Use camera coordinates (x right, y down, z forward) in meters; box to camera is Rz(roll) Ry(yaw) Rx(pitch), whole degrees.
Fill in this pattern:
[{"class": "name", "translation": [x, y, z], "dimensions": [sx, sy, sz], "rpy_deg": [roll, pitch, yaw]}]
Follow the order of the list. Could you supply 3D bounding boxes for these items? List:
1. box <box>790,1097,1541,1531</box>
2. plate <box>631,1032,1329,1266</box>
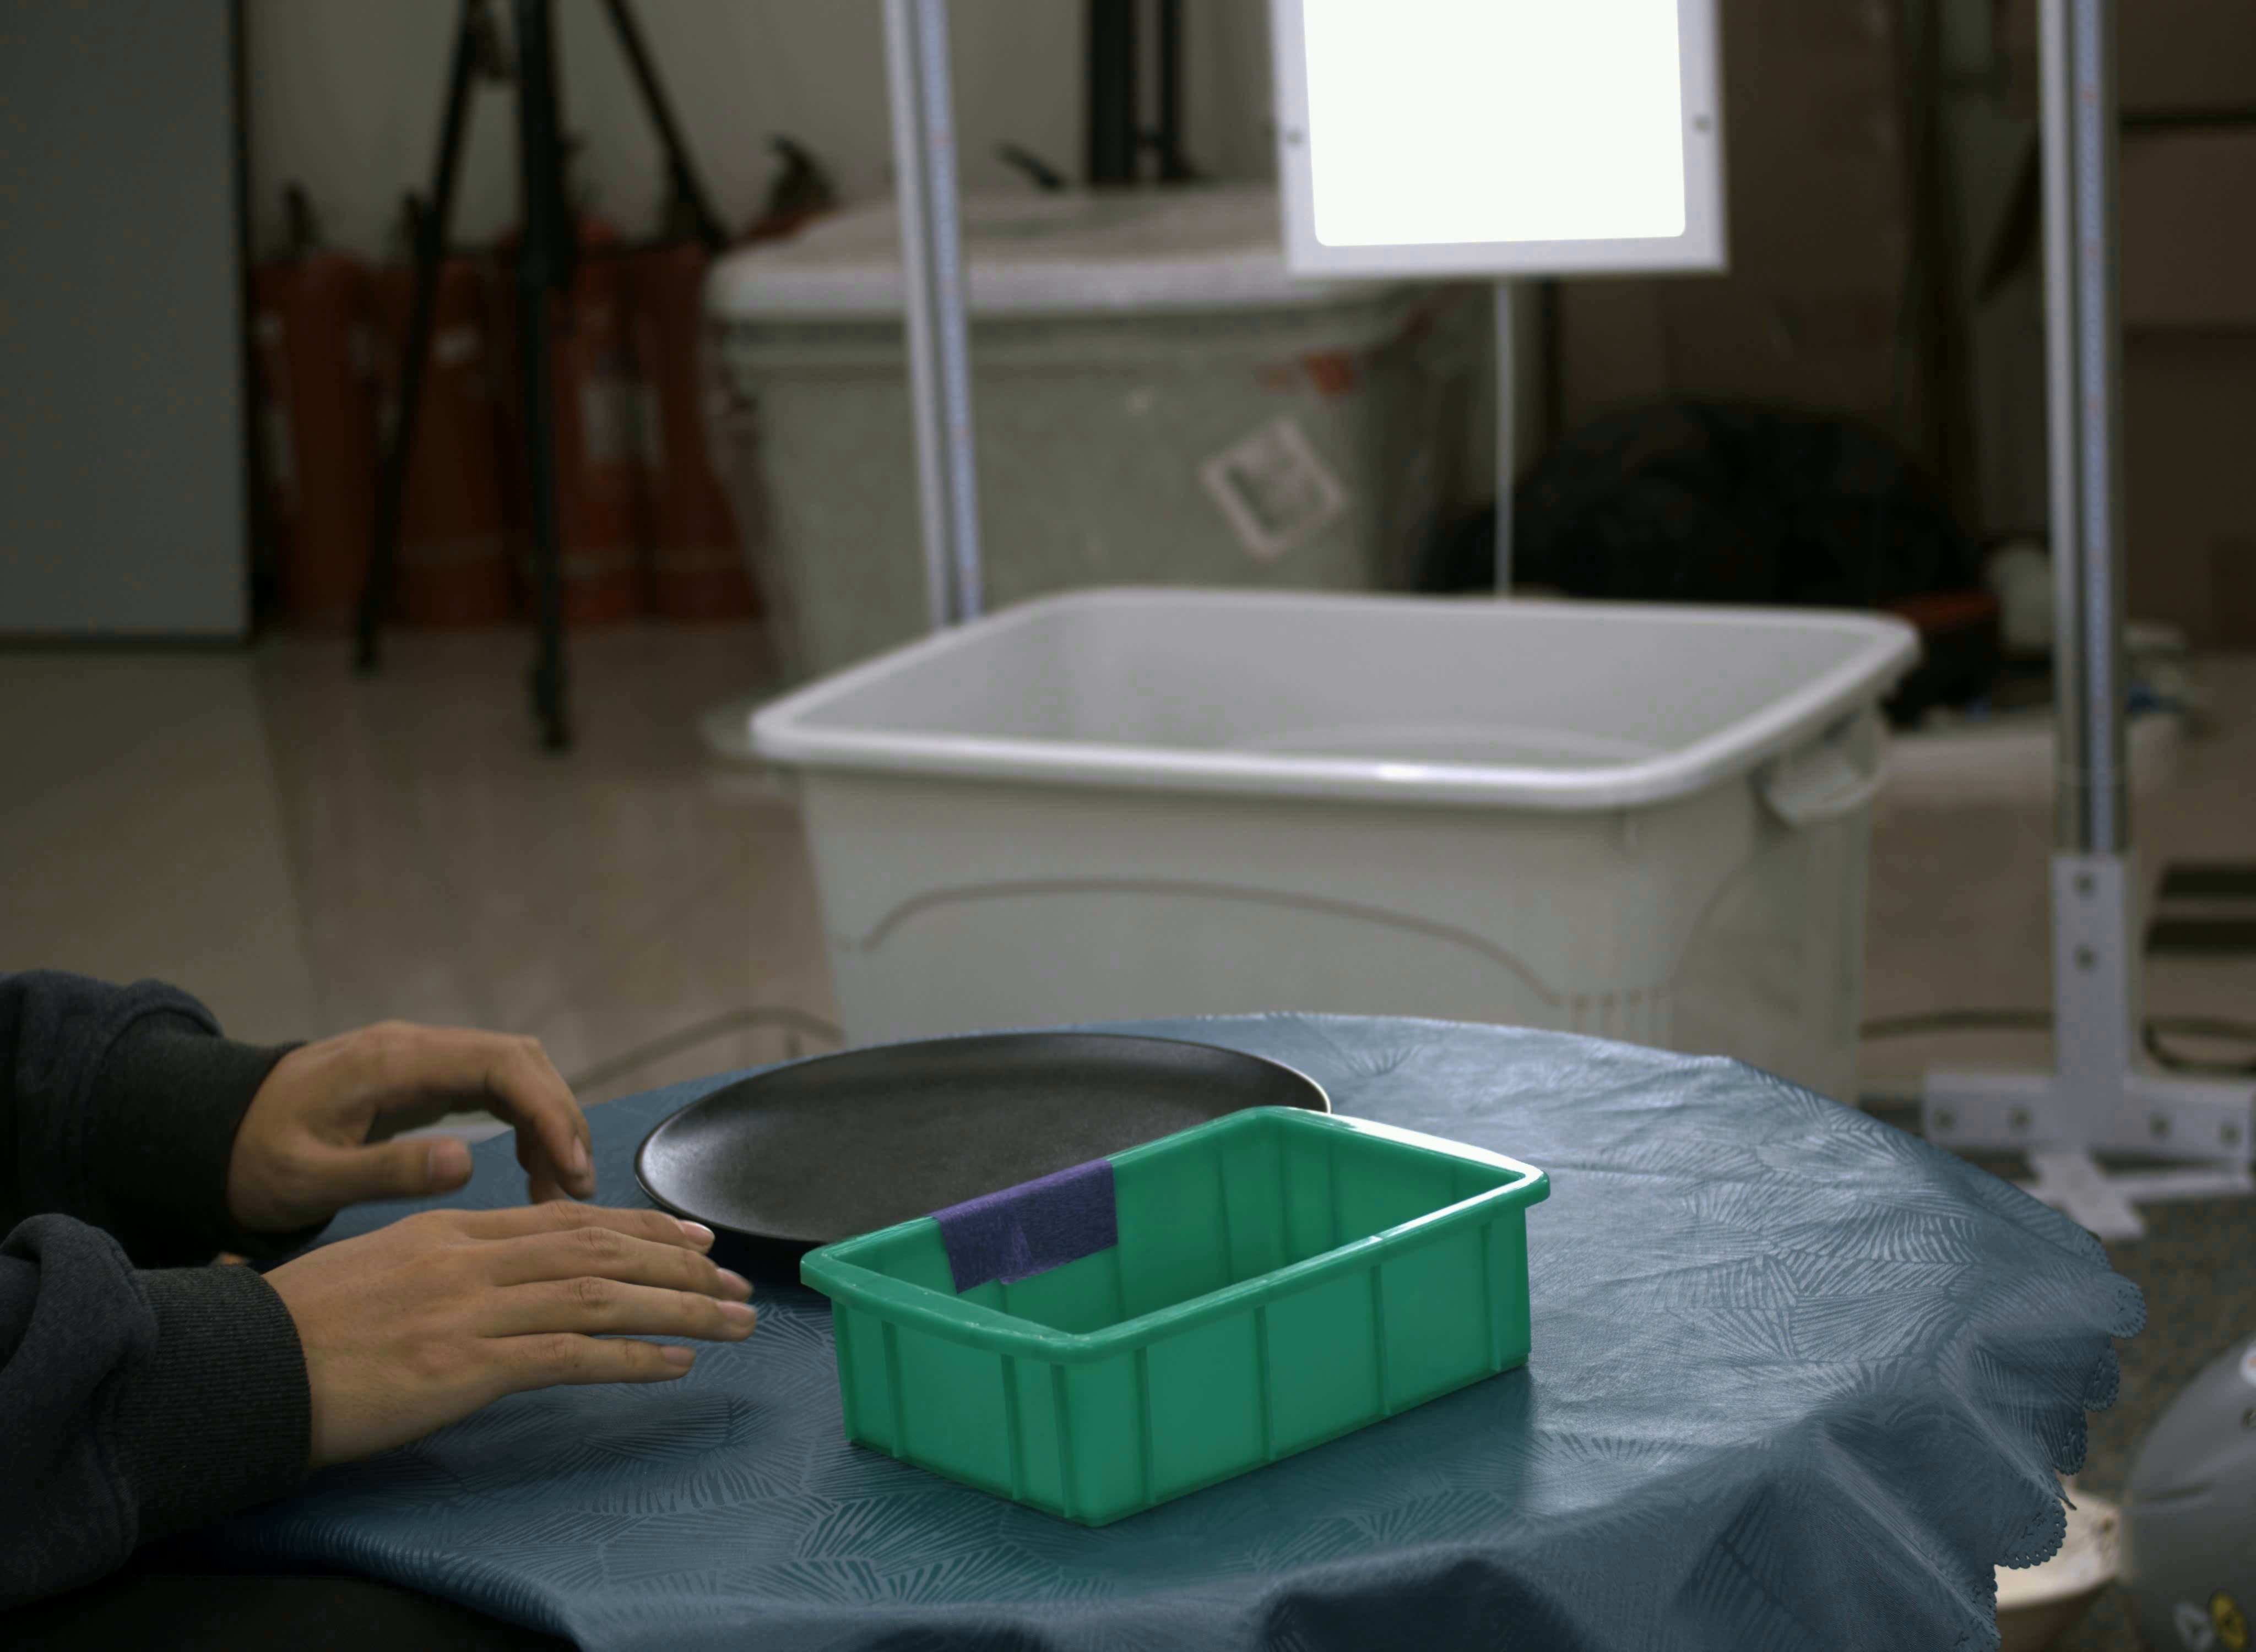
[{"class": "box", "translation": [0.015, 0.147, 1.675], "dimensions": [0.205, 0.065, 0.141], "rpy_deg": [-19, 17, -37]}, {"class": "plate", "translation": [-0.051, 0.116, 1.912], "dimensions": [0.244, 0.023, 0.244], "rpy_deg": [-5, 14, 0]}]
